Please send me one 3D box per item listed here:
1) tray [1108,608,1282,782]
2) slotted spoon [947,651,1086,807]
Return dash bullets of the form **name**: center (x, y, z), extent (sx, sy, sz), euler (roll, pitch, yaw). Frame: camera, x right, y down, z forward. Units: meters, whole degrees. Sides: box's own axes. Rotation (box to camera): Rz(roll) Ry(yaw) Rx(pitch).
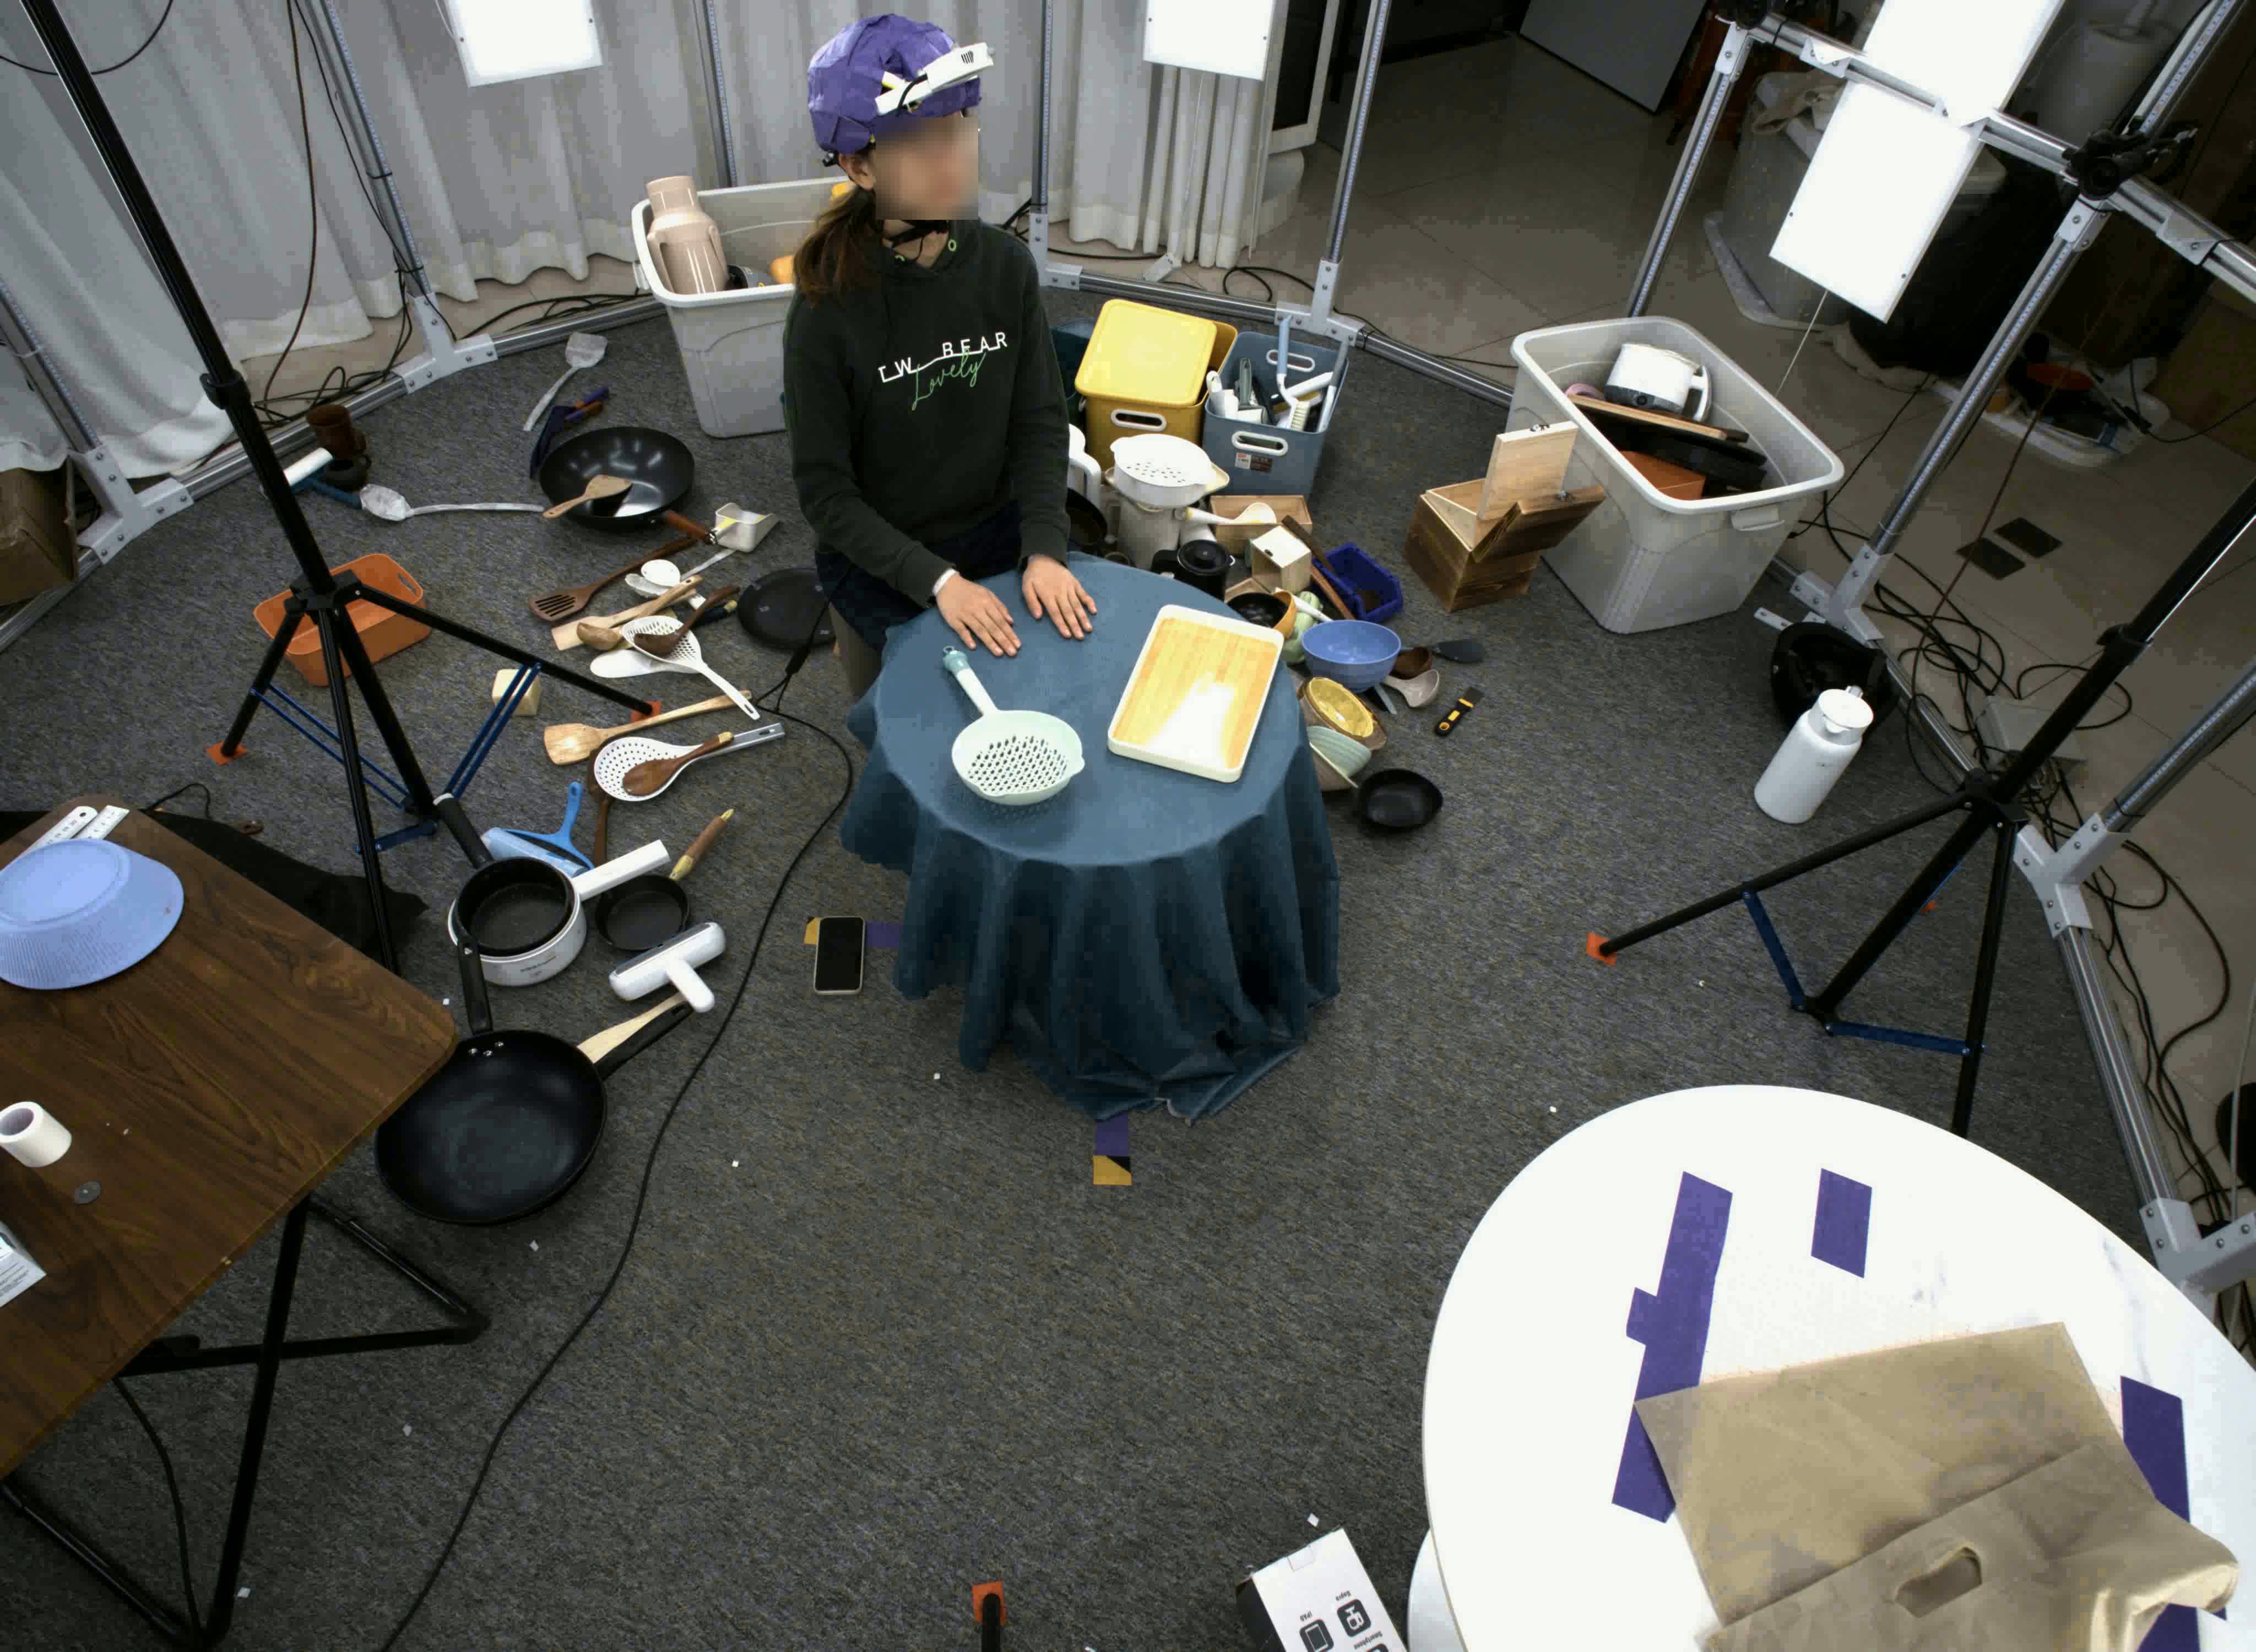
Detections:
- **tray**: center (0.100, -0.194, 1.843), extent (0.192, 0.027, 0.306), euler (15, 49, 9)
- **slotted spoon**: center (-0.185, -0.149, 1.759), extent (0.169, 0.073, 0.367), euler (-17, 52, -18)
